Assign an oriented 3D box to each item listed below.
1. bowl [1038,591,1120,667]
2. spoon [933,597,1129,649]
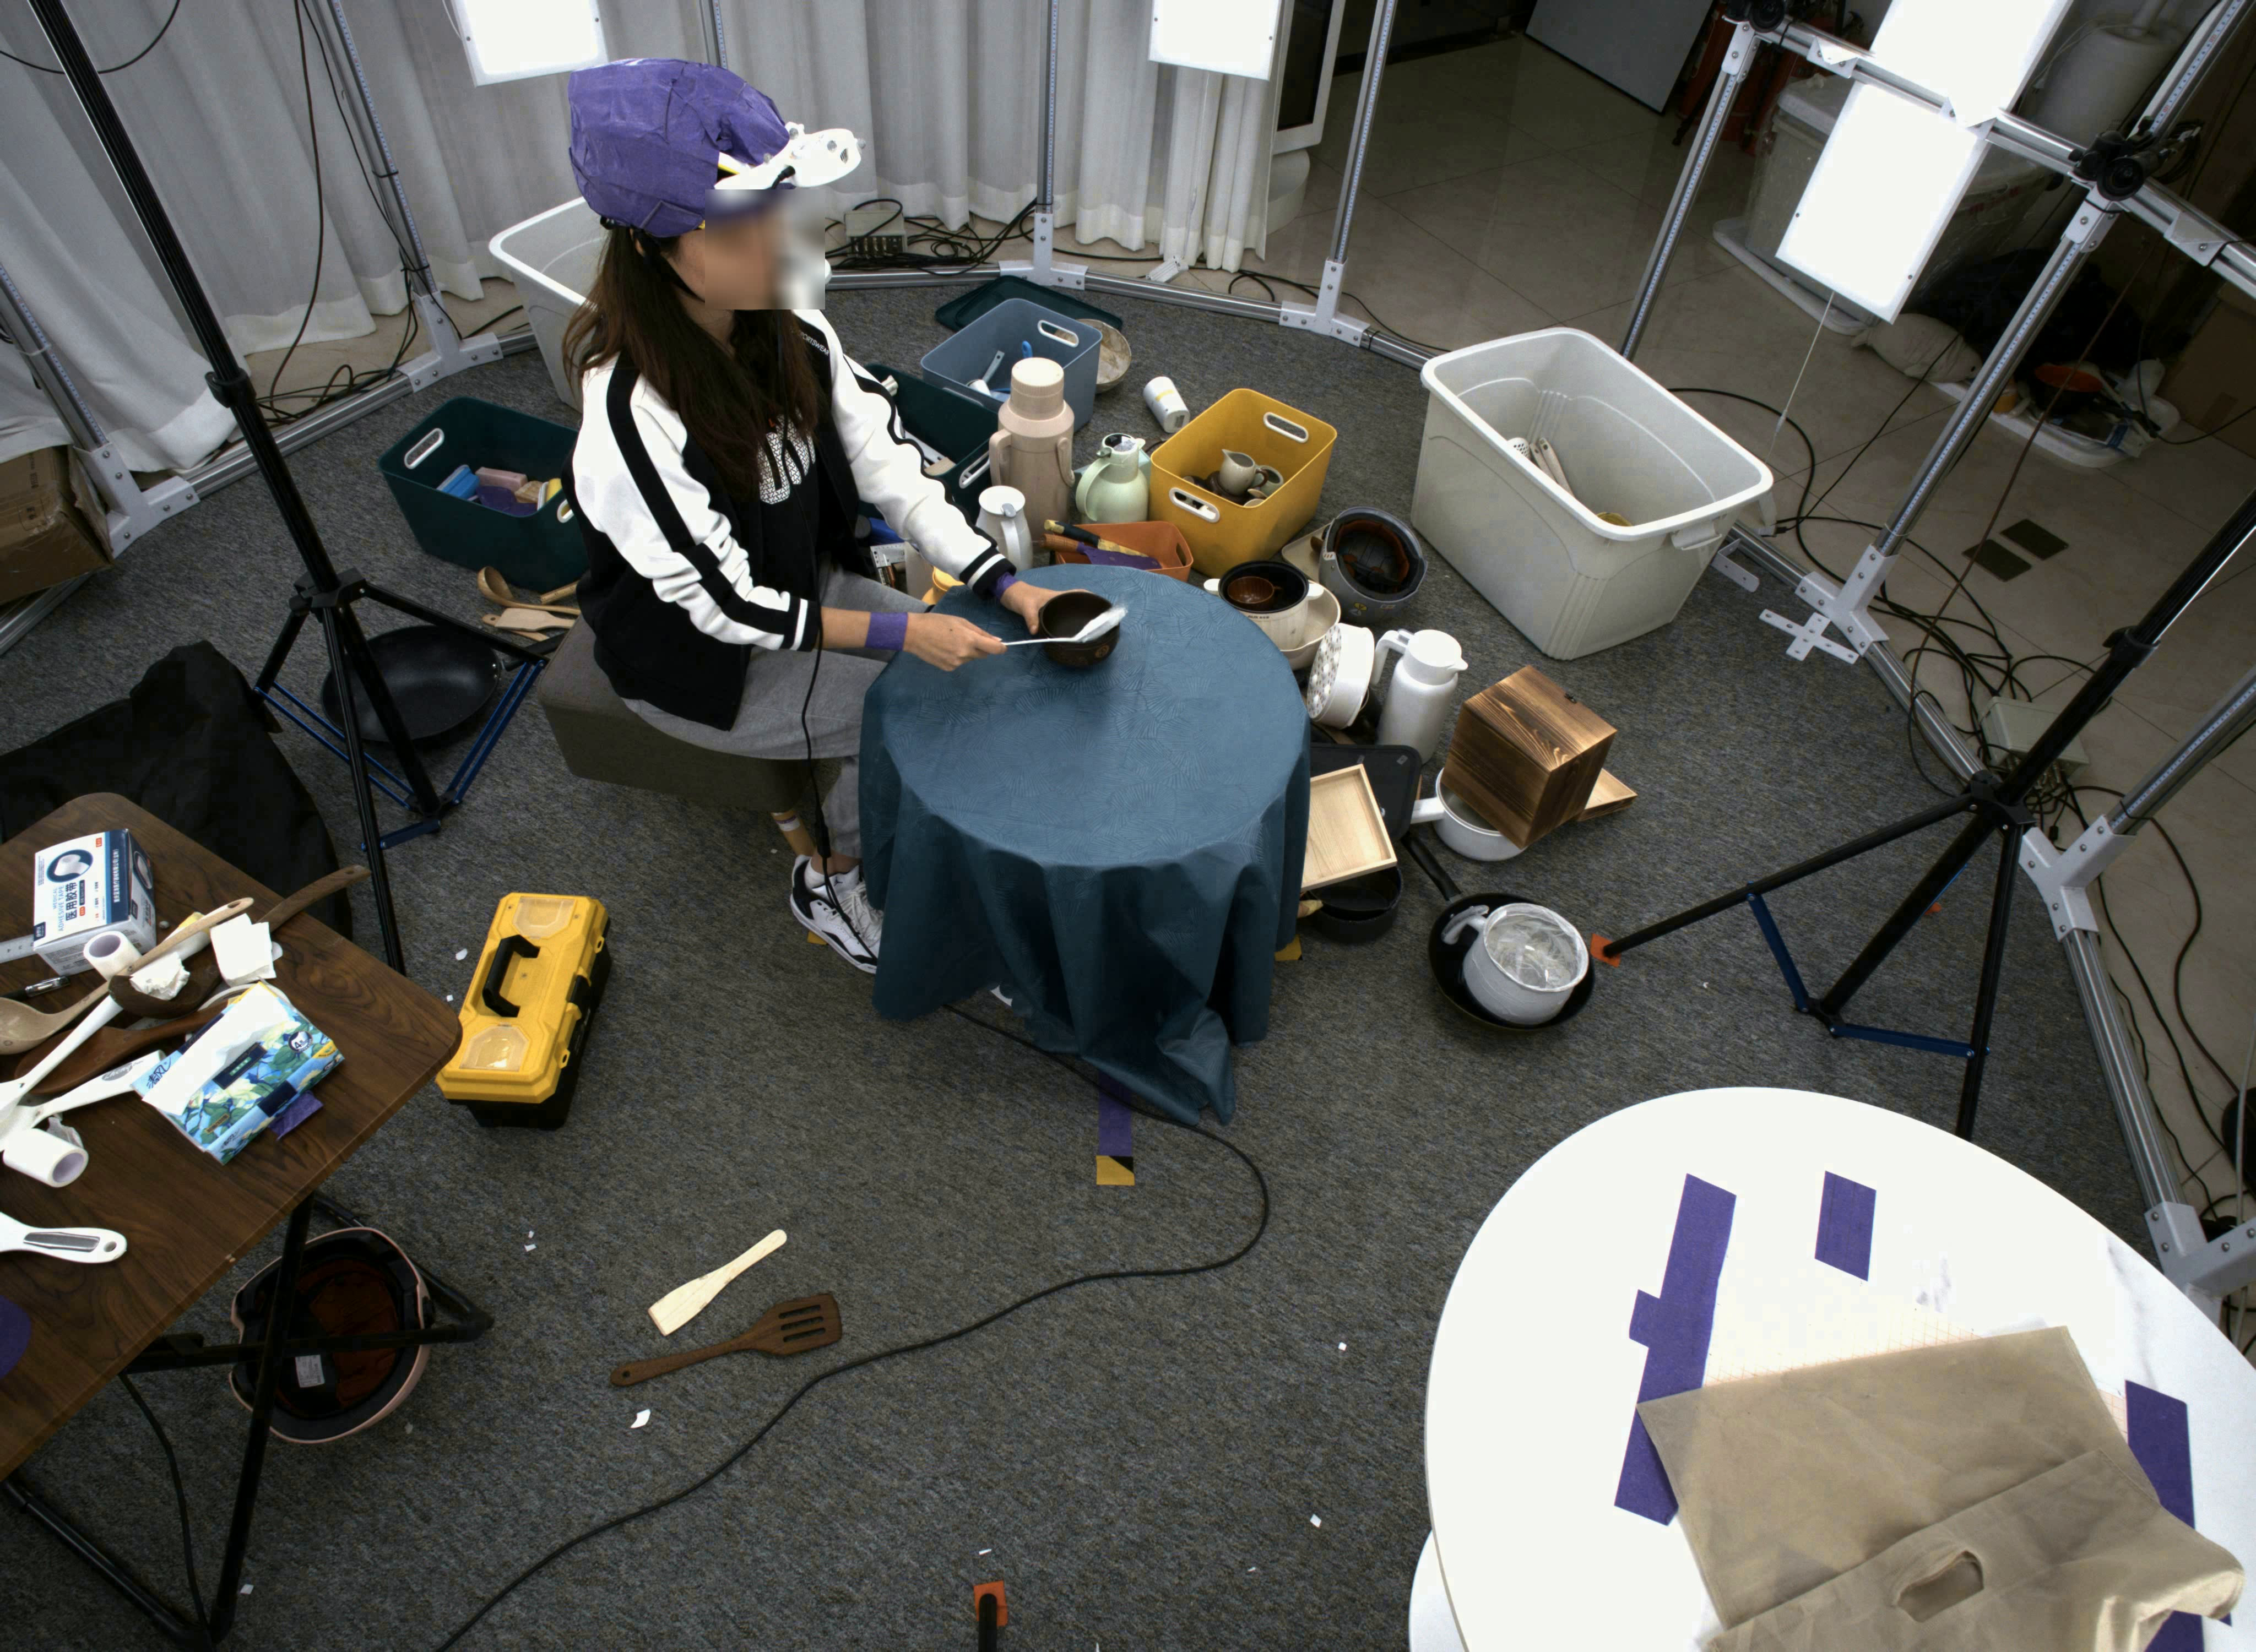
[{"bbox_3d":[-0.071,-0.277,1.858,0.118,0.068,0.121,2,49,-3],"label":"bowl"},{"bbox_3d":[-0.135,-0.283,1.797,0.277,0.059,0.101,-3,8,1],"label":"spoon"}]
